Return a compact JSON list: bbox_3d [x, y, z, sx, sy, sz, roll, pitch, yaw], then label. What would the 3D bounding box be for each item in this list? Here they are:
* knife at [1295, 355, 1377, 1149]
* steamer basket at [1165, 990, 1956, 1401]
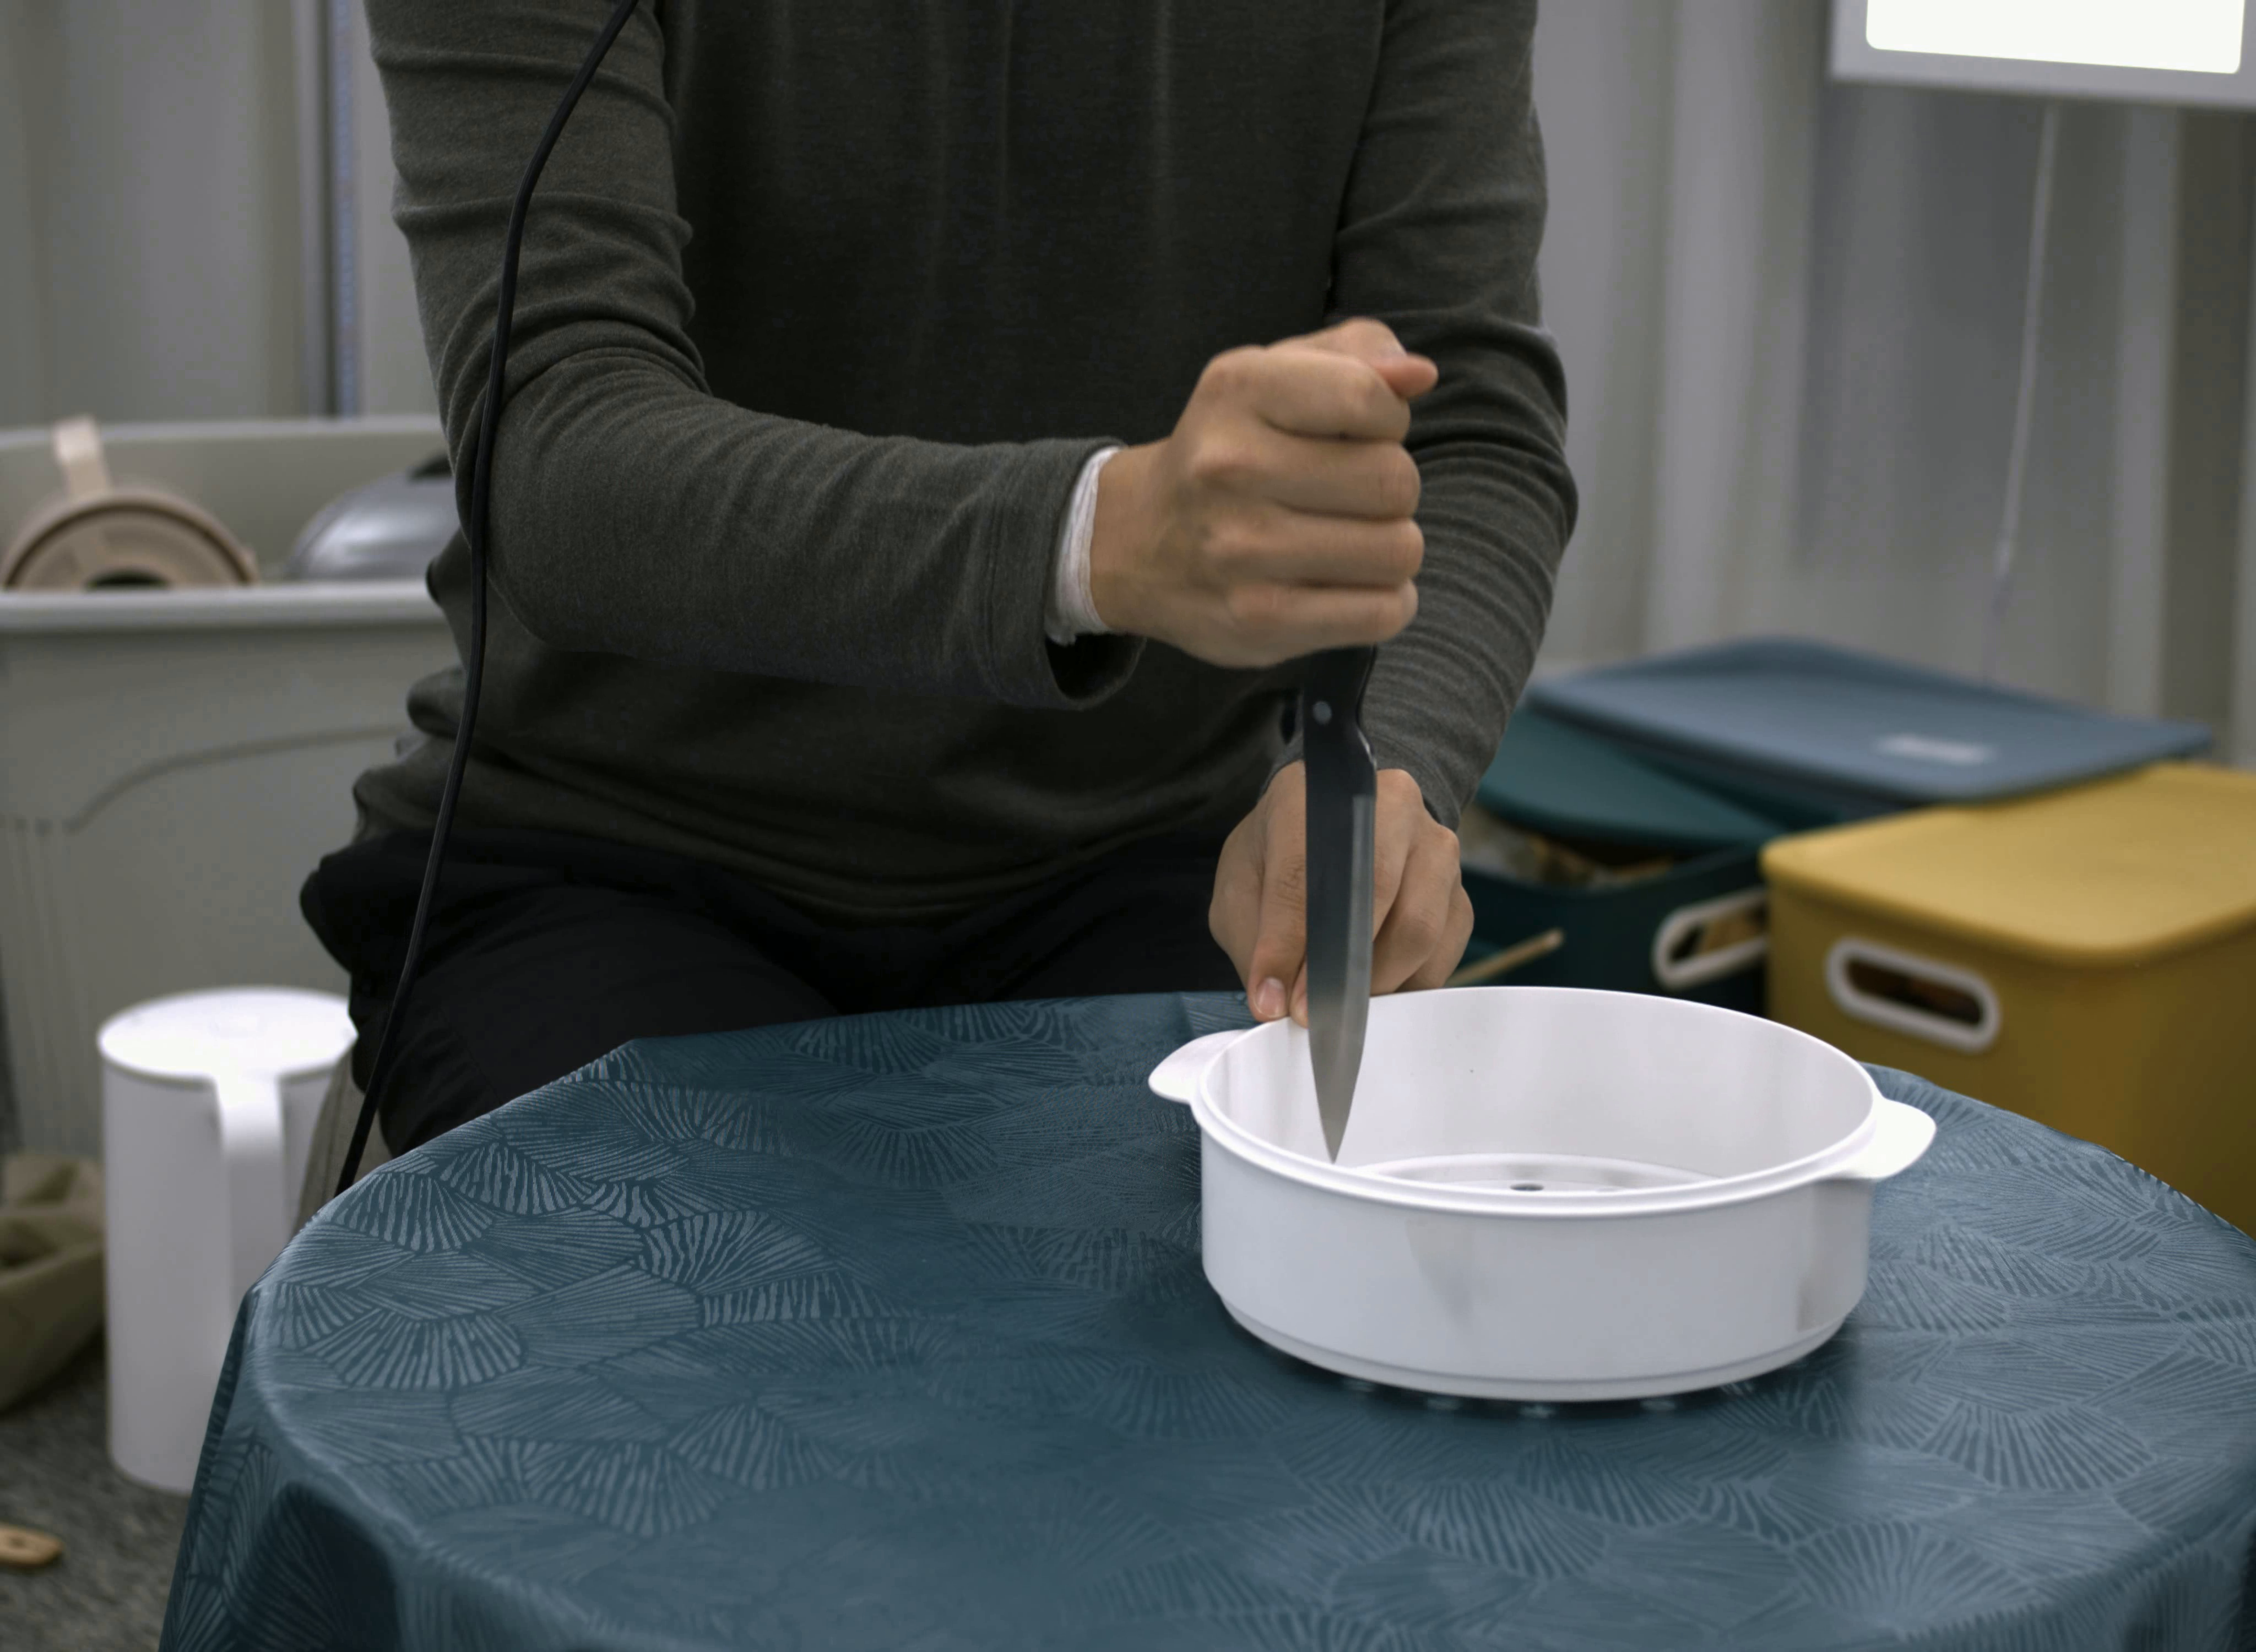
[{"bbox_3d":[0.060,-0.017,1.510,0.024,0.240,0.016,8,20,29],"label":"knife"},{"bbox_3d":[0.123,0.106,1.524,0.228,0.070,0.202,6,16,20],"label":"steamer basket"}]
